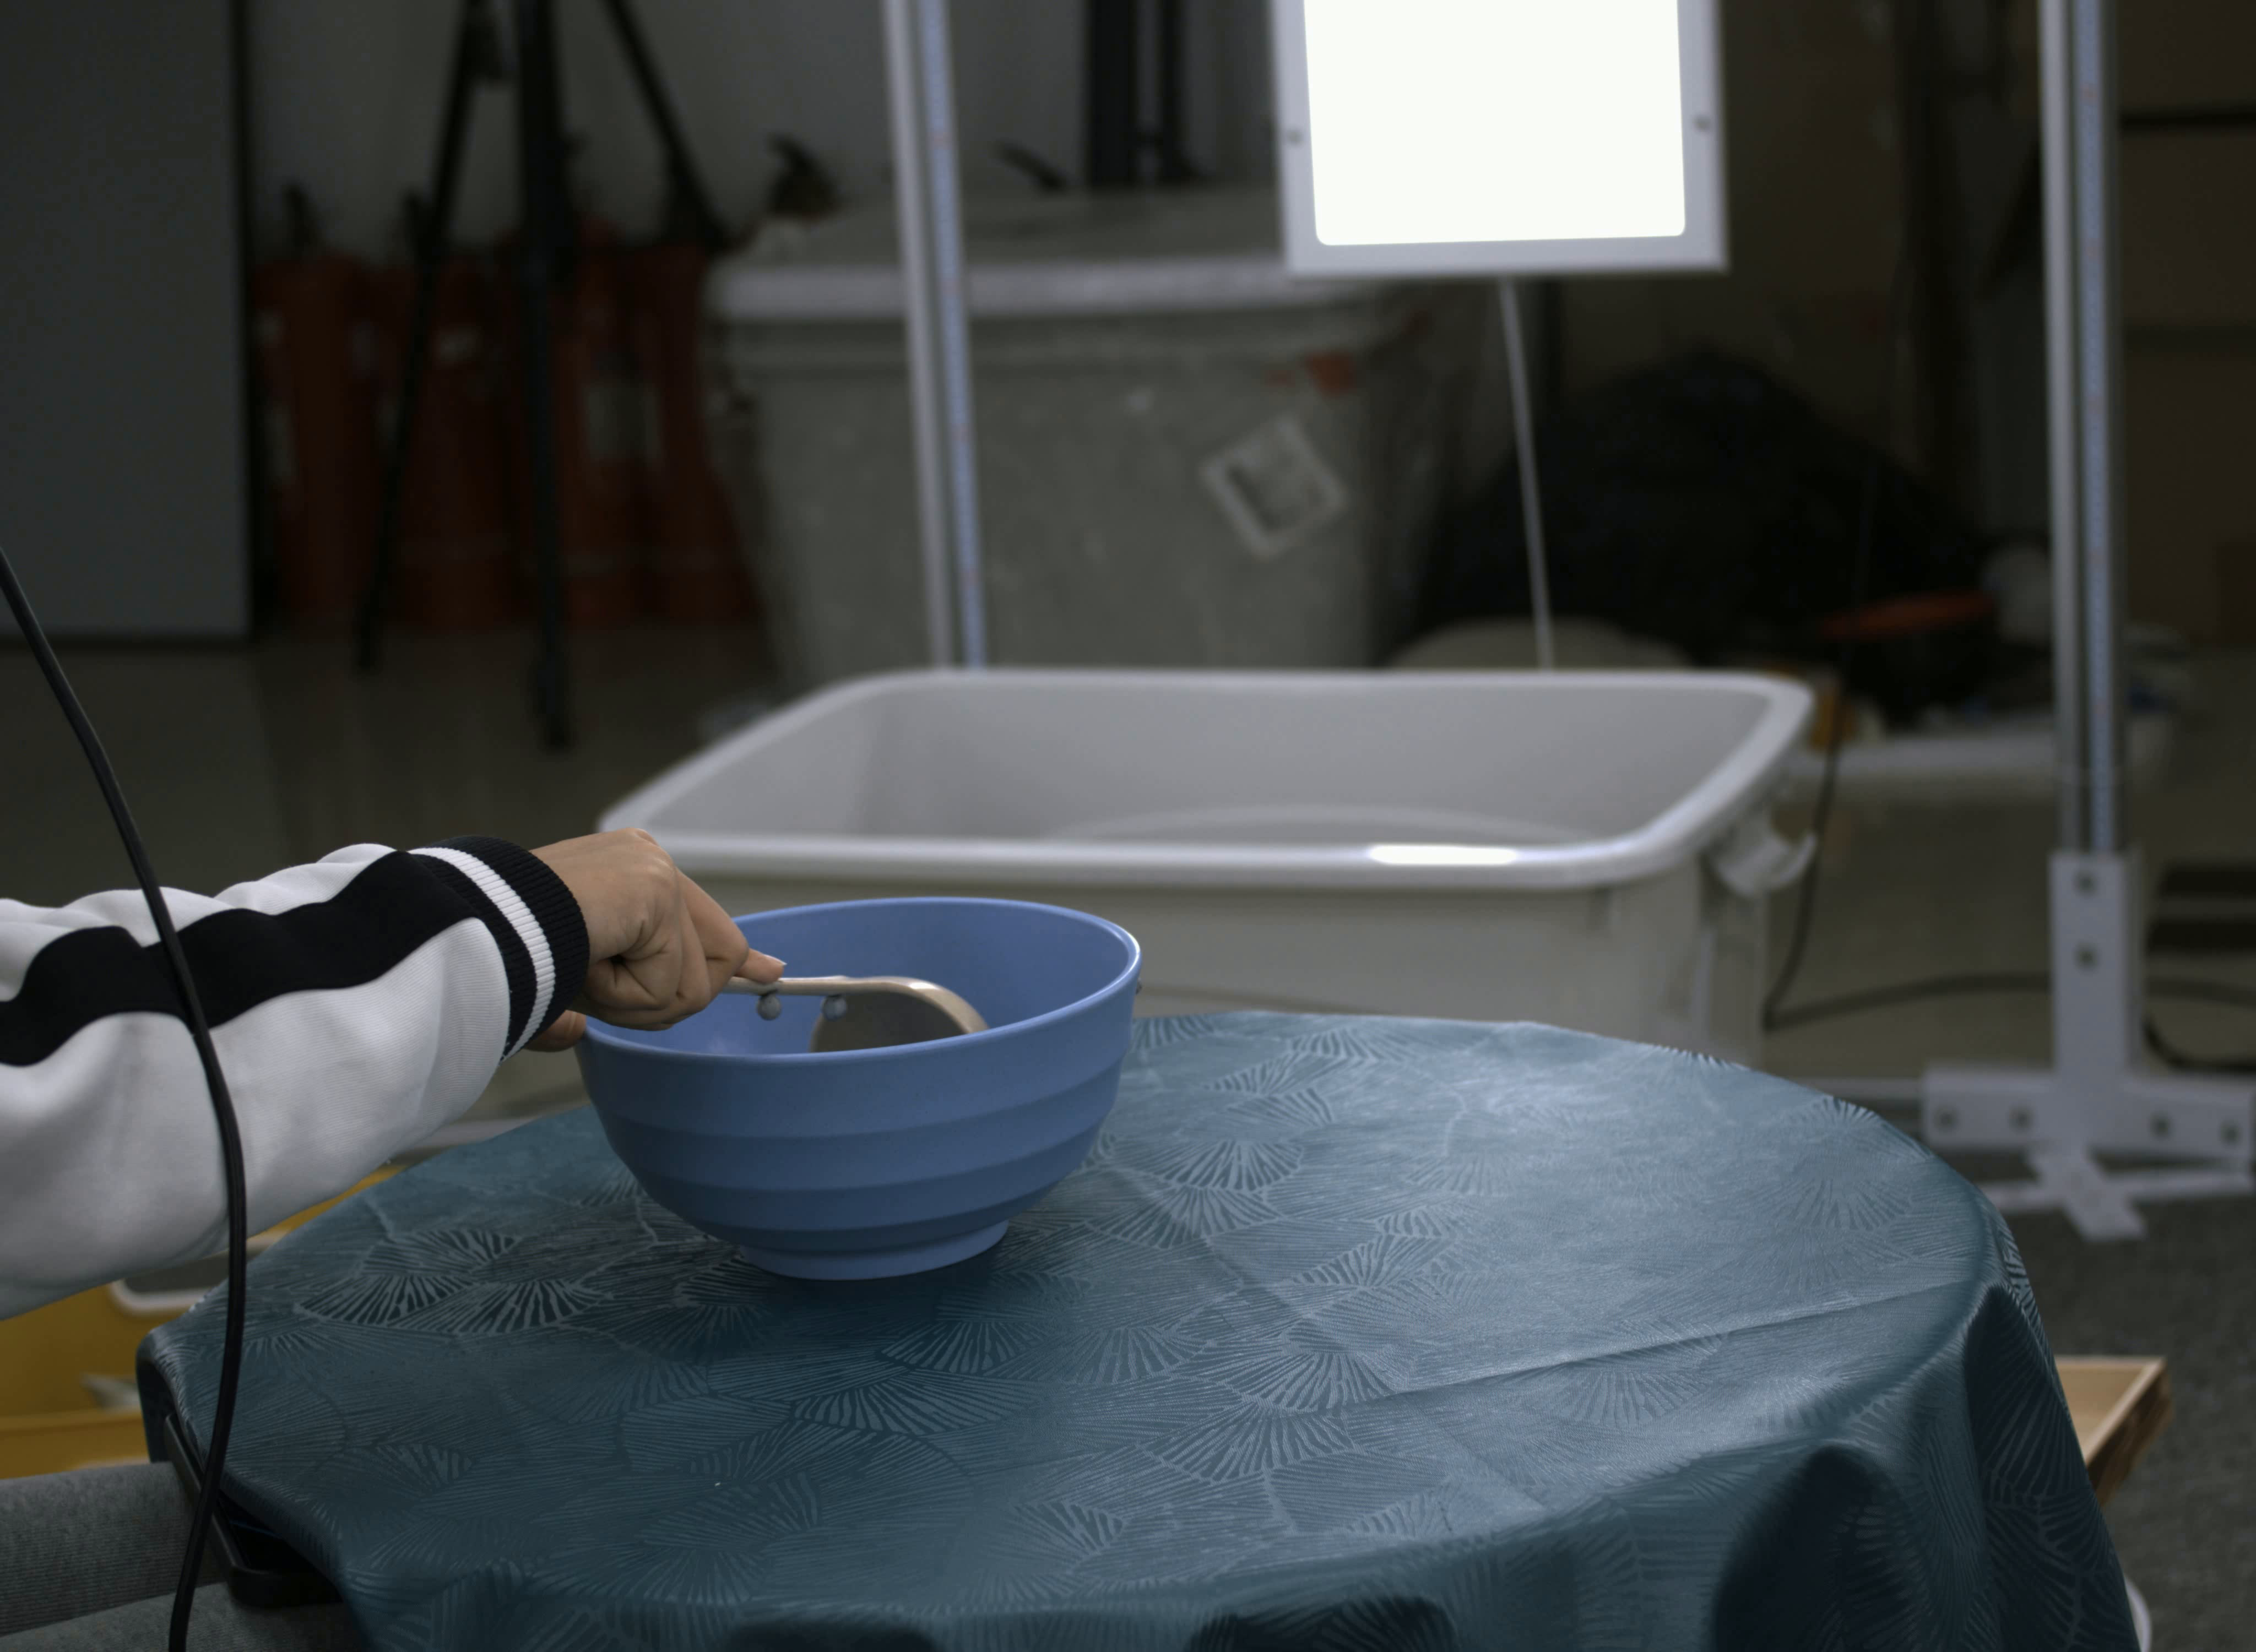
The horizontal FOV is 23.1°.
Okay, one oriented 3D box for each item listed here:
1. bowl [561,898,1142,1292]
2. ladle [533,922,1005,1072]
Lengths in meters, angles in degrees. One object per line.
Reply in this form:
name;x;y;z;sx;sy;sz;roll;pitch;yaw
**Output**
bowl;-0.090;0.097;1.864;0.196;0.096;0.196;-5;15;0
ladle;-0.122;0.078;1.793;0.073;0.073;0.249;9;-1;31
